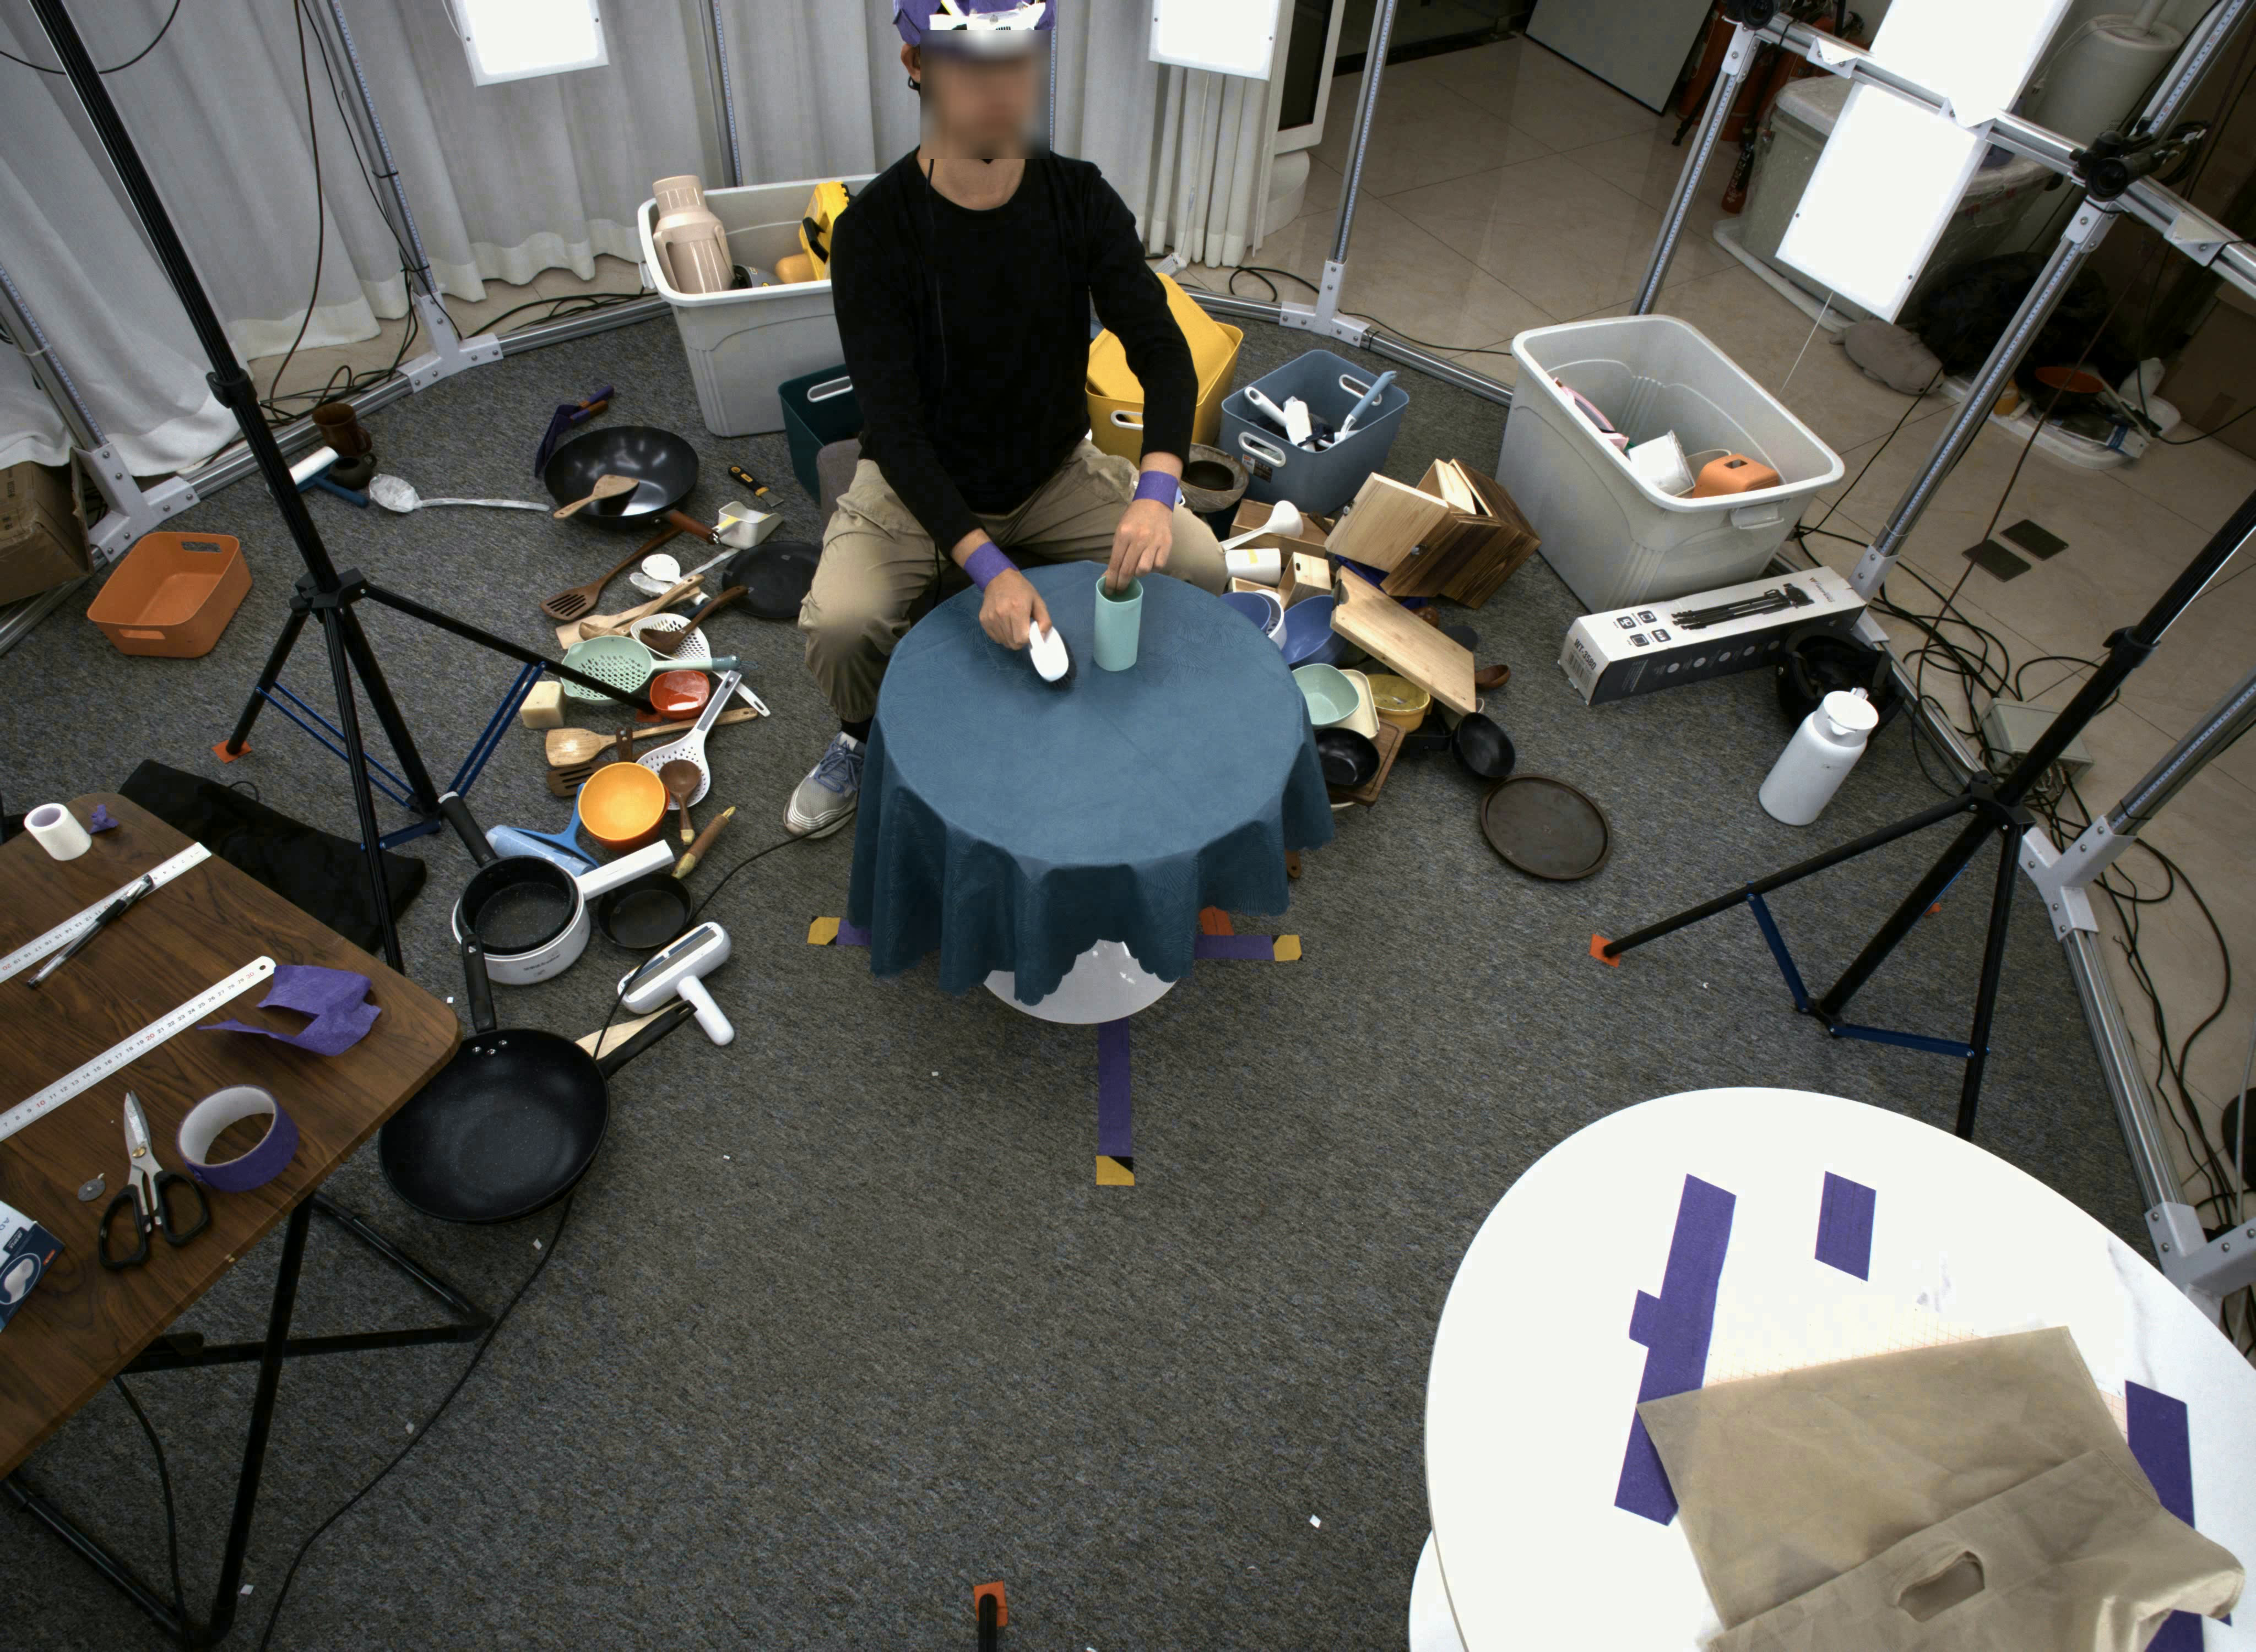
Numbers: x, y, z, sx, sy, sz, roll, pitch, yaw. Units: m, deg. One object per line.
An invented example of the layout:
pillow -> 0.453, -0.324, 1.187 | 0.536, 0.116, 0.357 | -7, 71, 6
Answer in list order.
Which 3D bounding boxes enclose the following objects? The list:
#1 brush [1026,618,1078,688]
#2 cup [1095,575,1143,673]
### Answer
brush -> -0.115, -0.252, 1.821 | 0.050, 0.071, 0.101 | -28, 57, 17
cup -> -0.016, -0.288, 1.836 | 0.066, 0.129, 0.068 | 2, 49, -3
